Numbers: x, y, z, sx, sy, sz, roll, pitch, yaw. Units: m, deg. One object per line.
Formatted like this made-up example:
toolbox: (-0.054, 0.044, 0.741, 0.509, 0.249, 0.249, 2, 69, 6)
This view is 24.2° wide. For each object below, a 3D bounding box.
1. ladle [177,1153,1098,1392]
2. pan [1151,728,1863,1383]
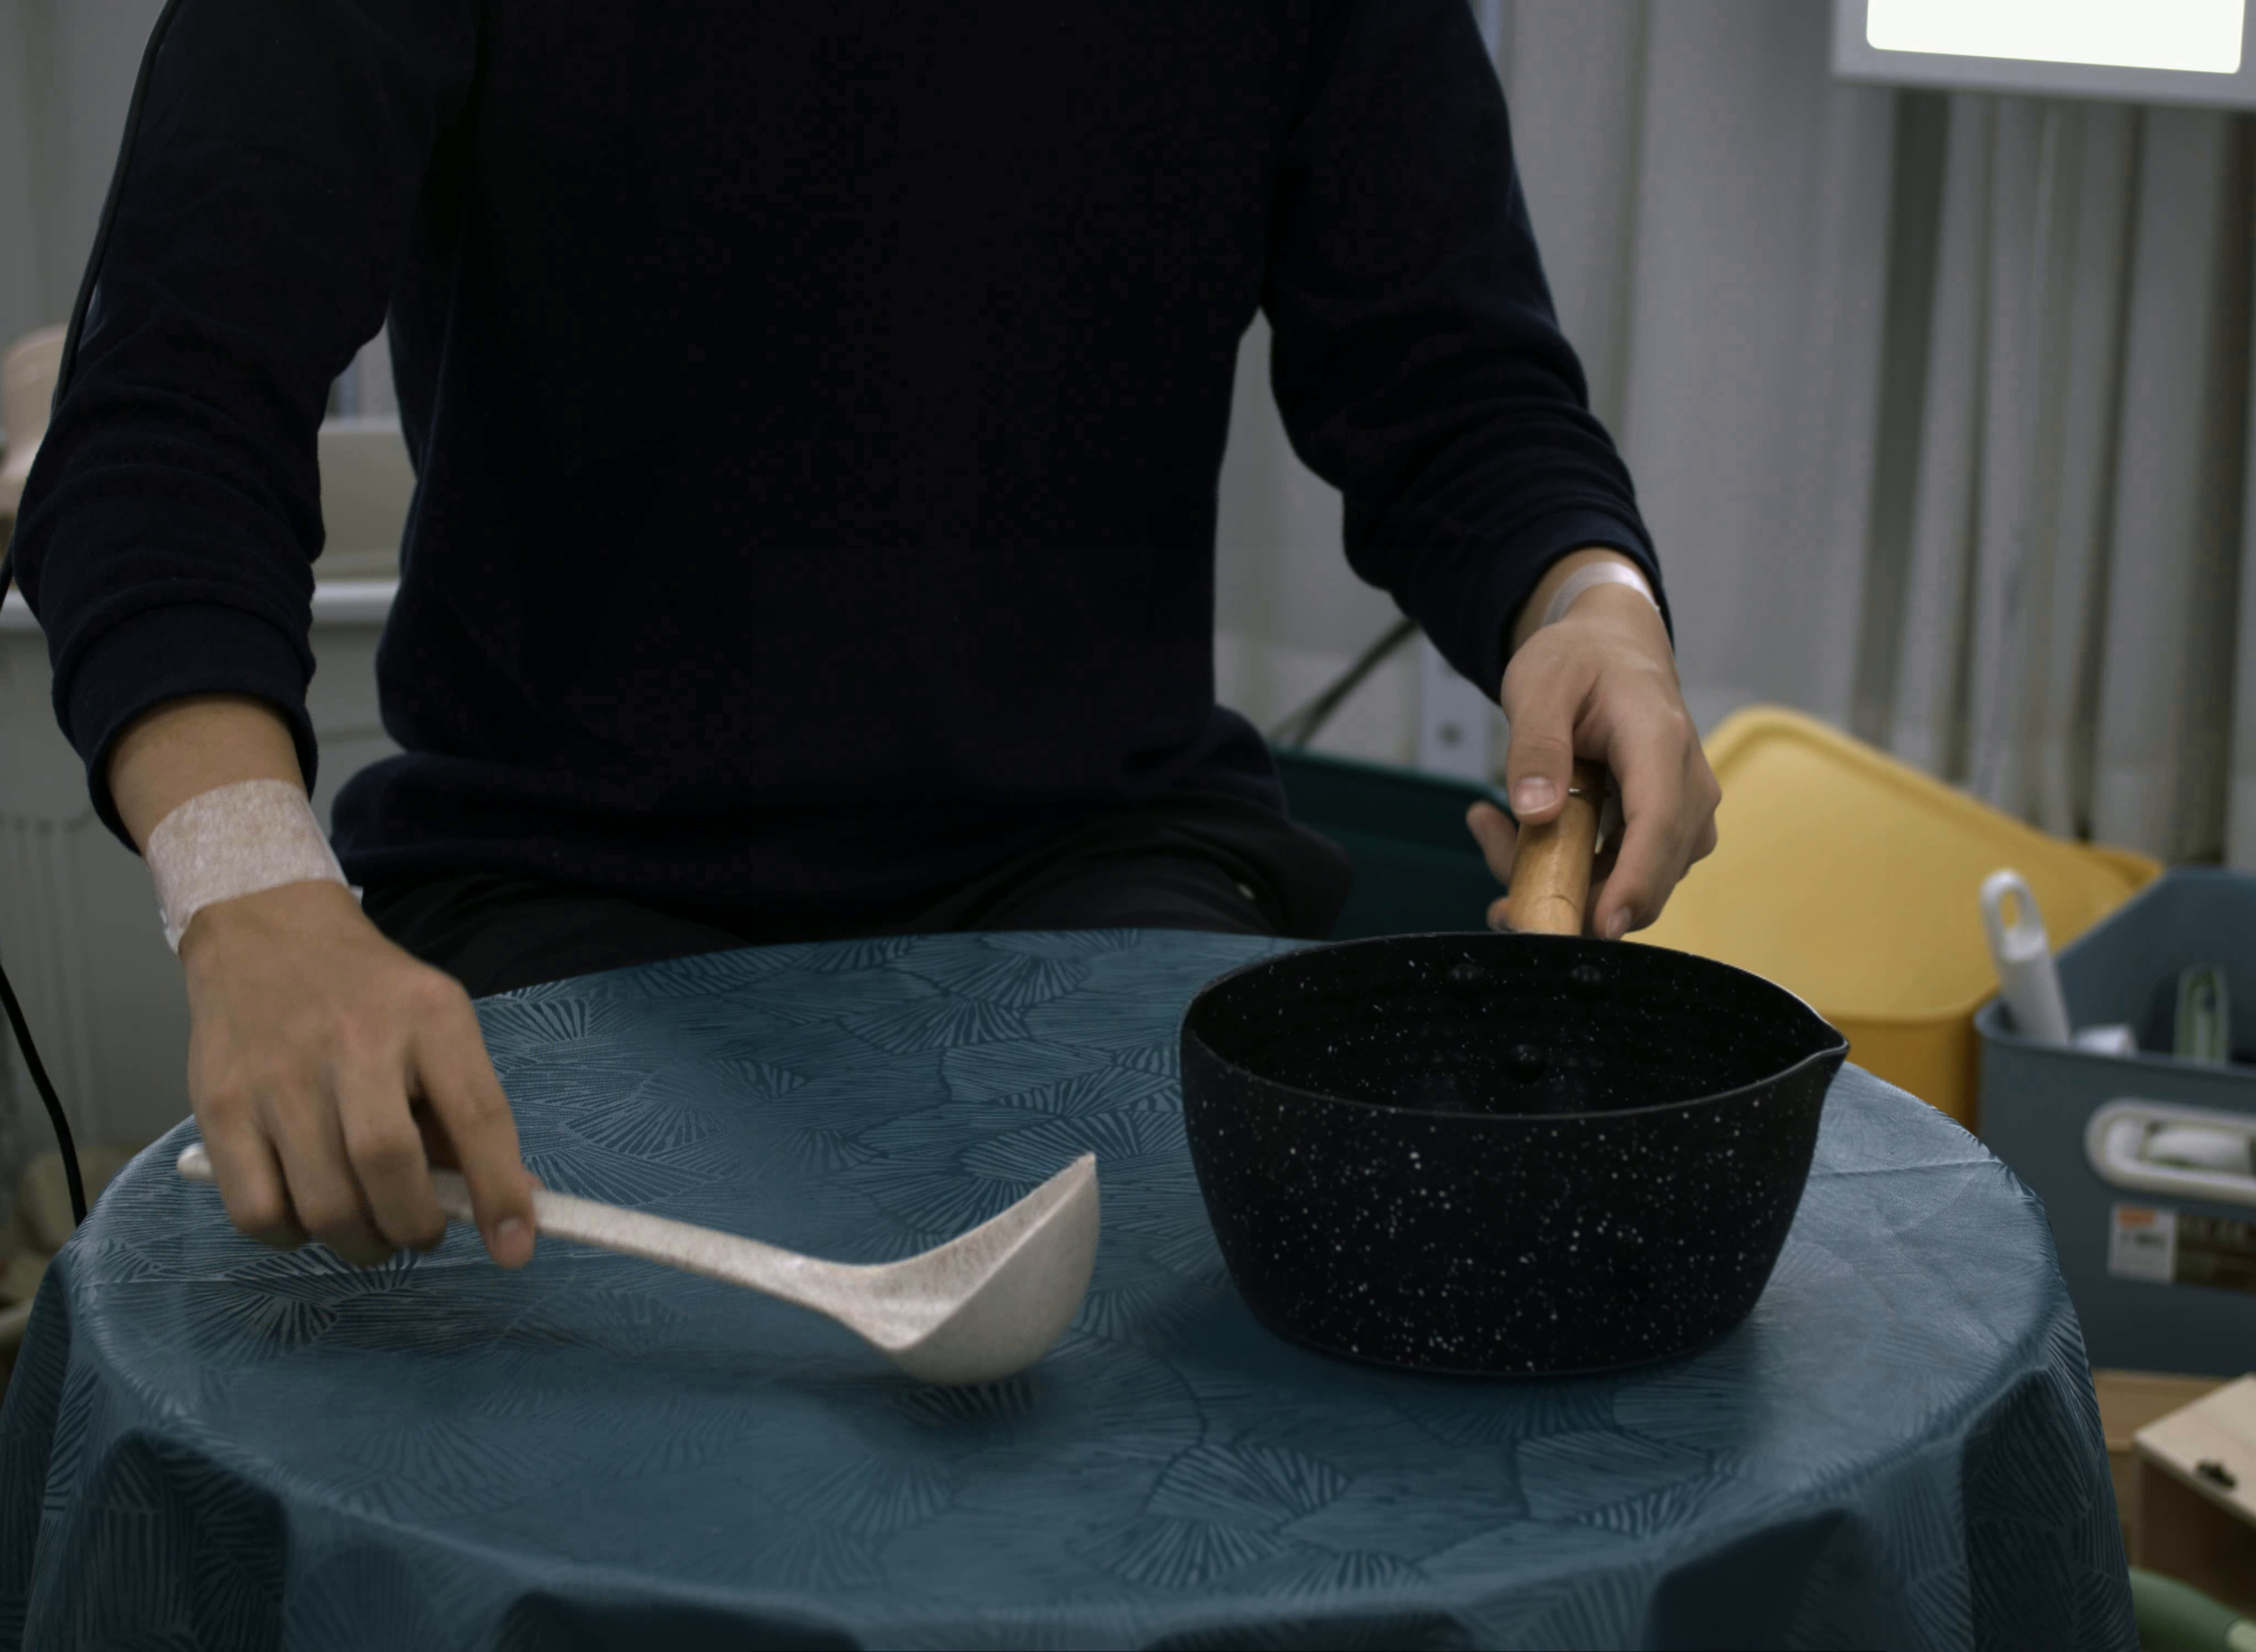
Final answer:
ladle: (-0.142, 0.100, 1.476, 0.272, 0.070, 0.089, 12, 28, 13)
pan: (0.118, 0.064, 1.599, 0.206, 0.109, 0.342, 2, 16, 7)
